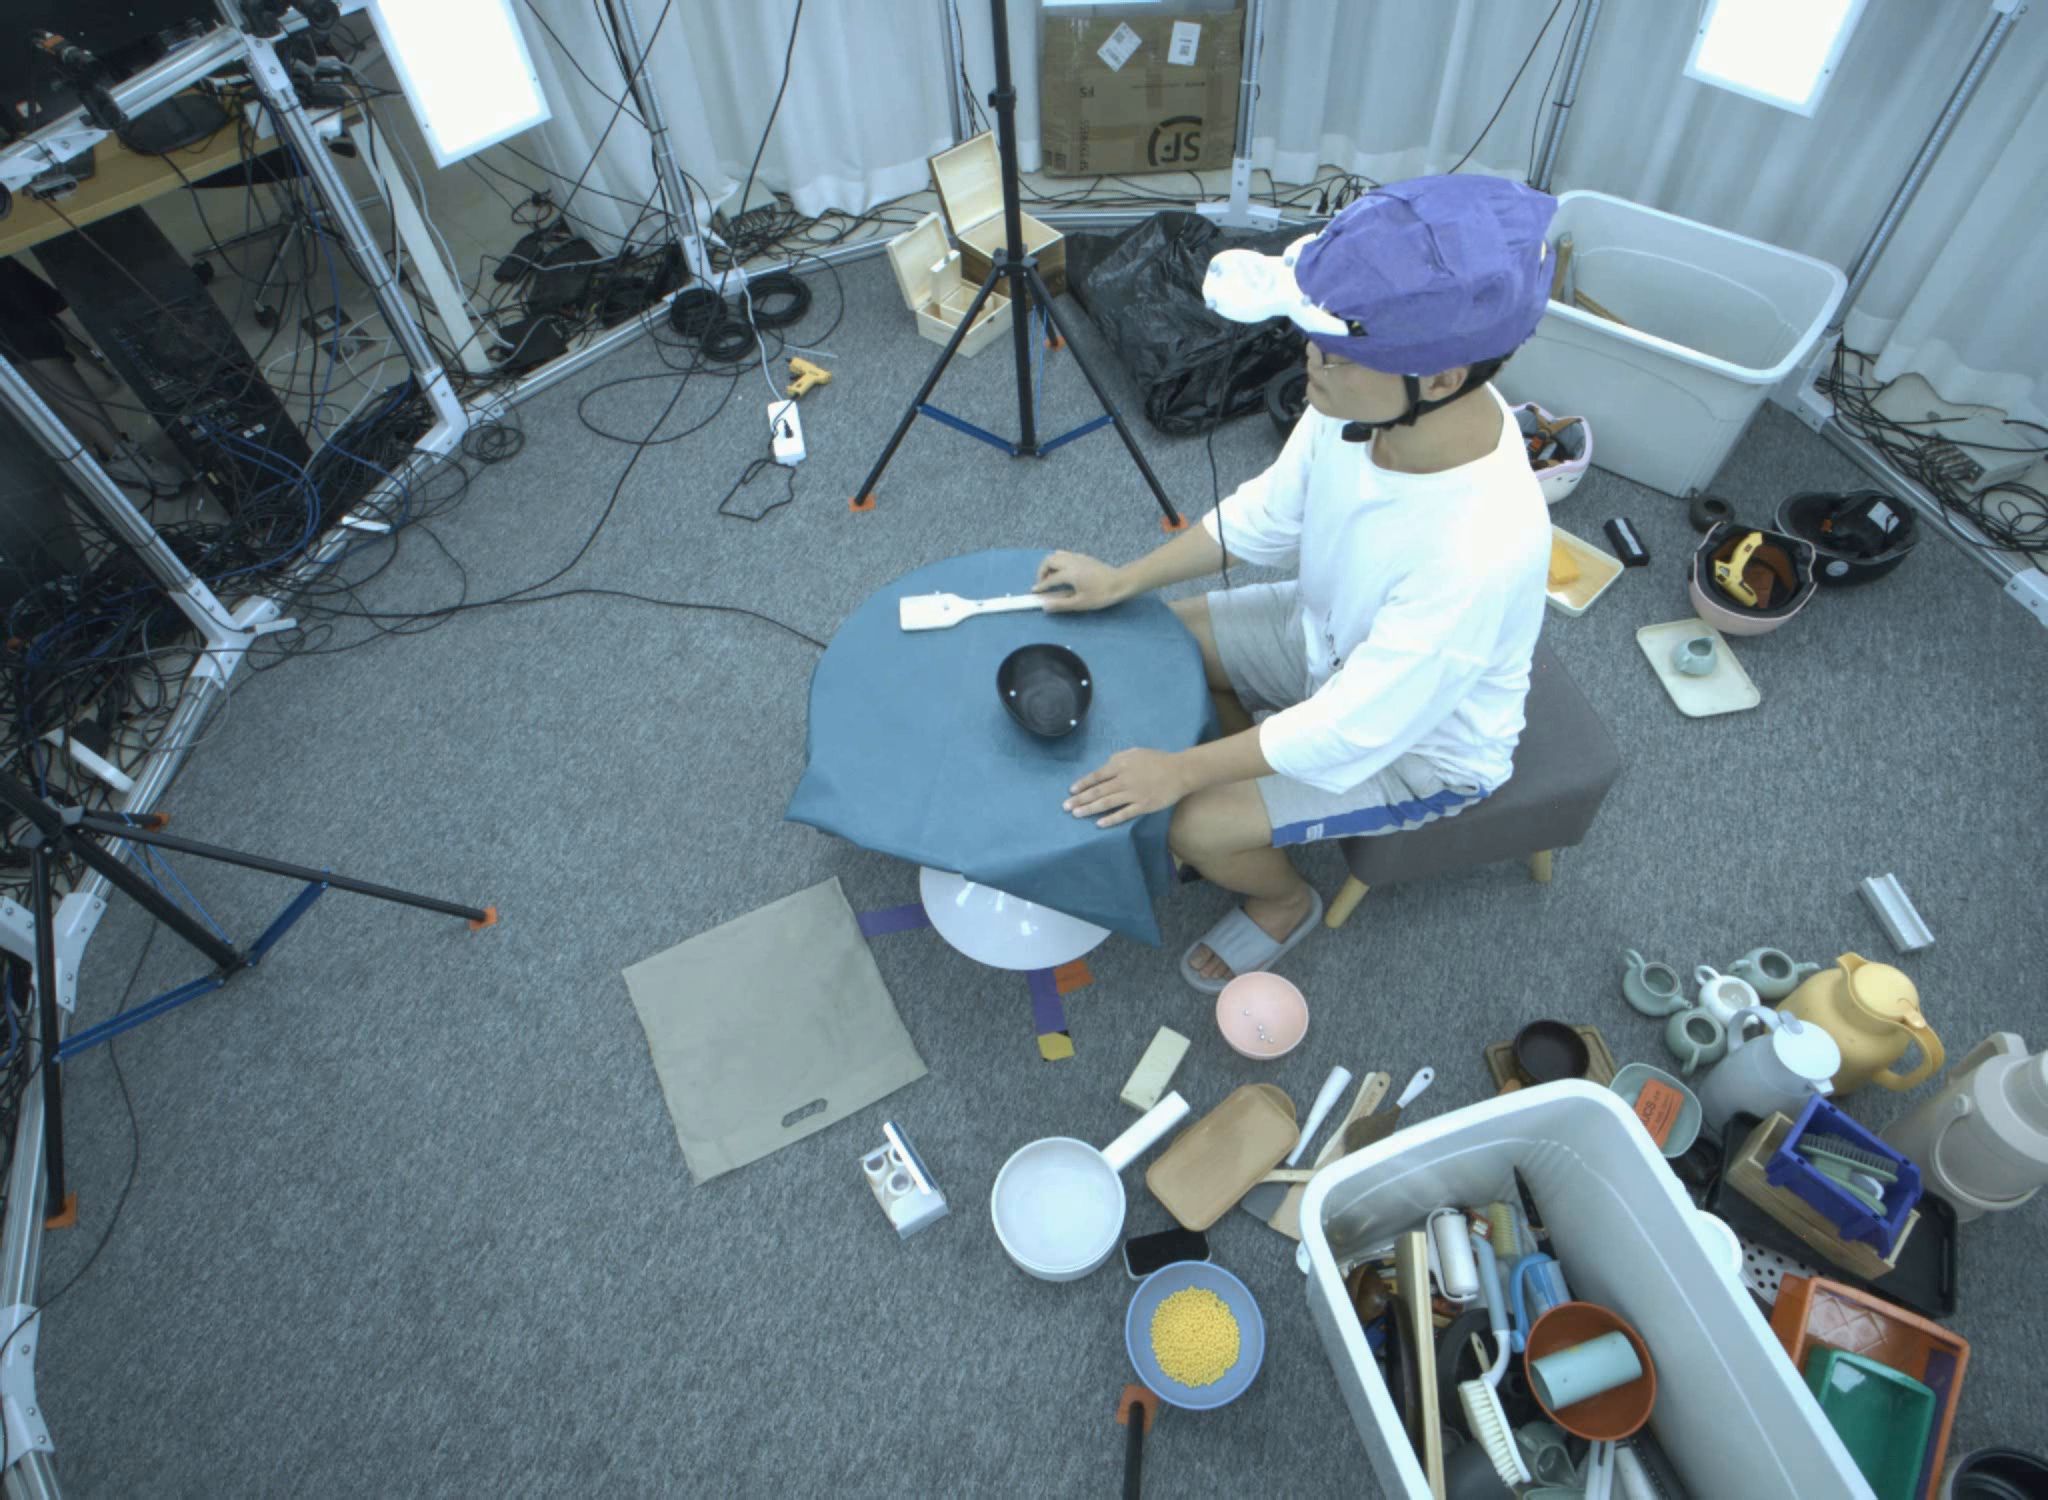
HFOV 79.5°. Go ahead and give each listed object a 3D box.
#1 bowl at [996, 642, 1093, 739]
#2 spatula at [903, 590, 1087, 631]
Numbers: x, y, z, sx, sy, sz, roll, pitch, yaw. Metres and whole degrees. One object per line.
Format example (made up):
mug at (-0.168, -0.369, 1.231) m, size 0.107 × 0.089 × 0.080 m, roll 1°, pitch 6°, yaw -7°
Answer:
bowl at (0.031, -0.079, 1.801) m, size 0.138 × 0.067 × 0.167 m, roll -16°, pitch 57°, yaw -10°
spatula at (-0.047, -0.230, 1.945) m, size 0.293 × 0.011 × 0.071 m, roll -6°, pitch 53°, yaw -3°
